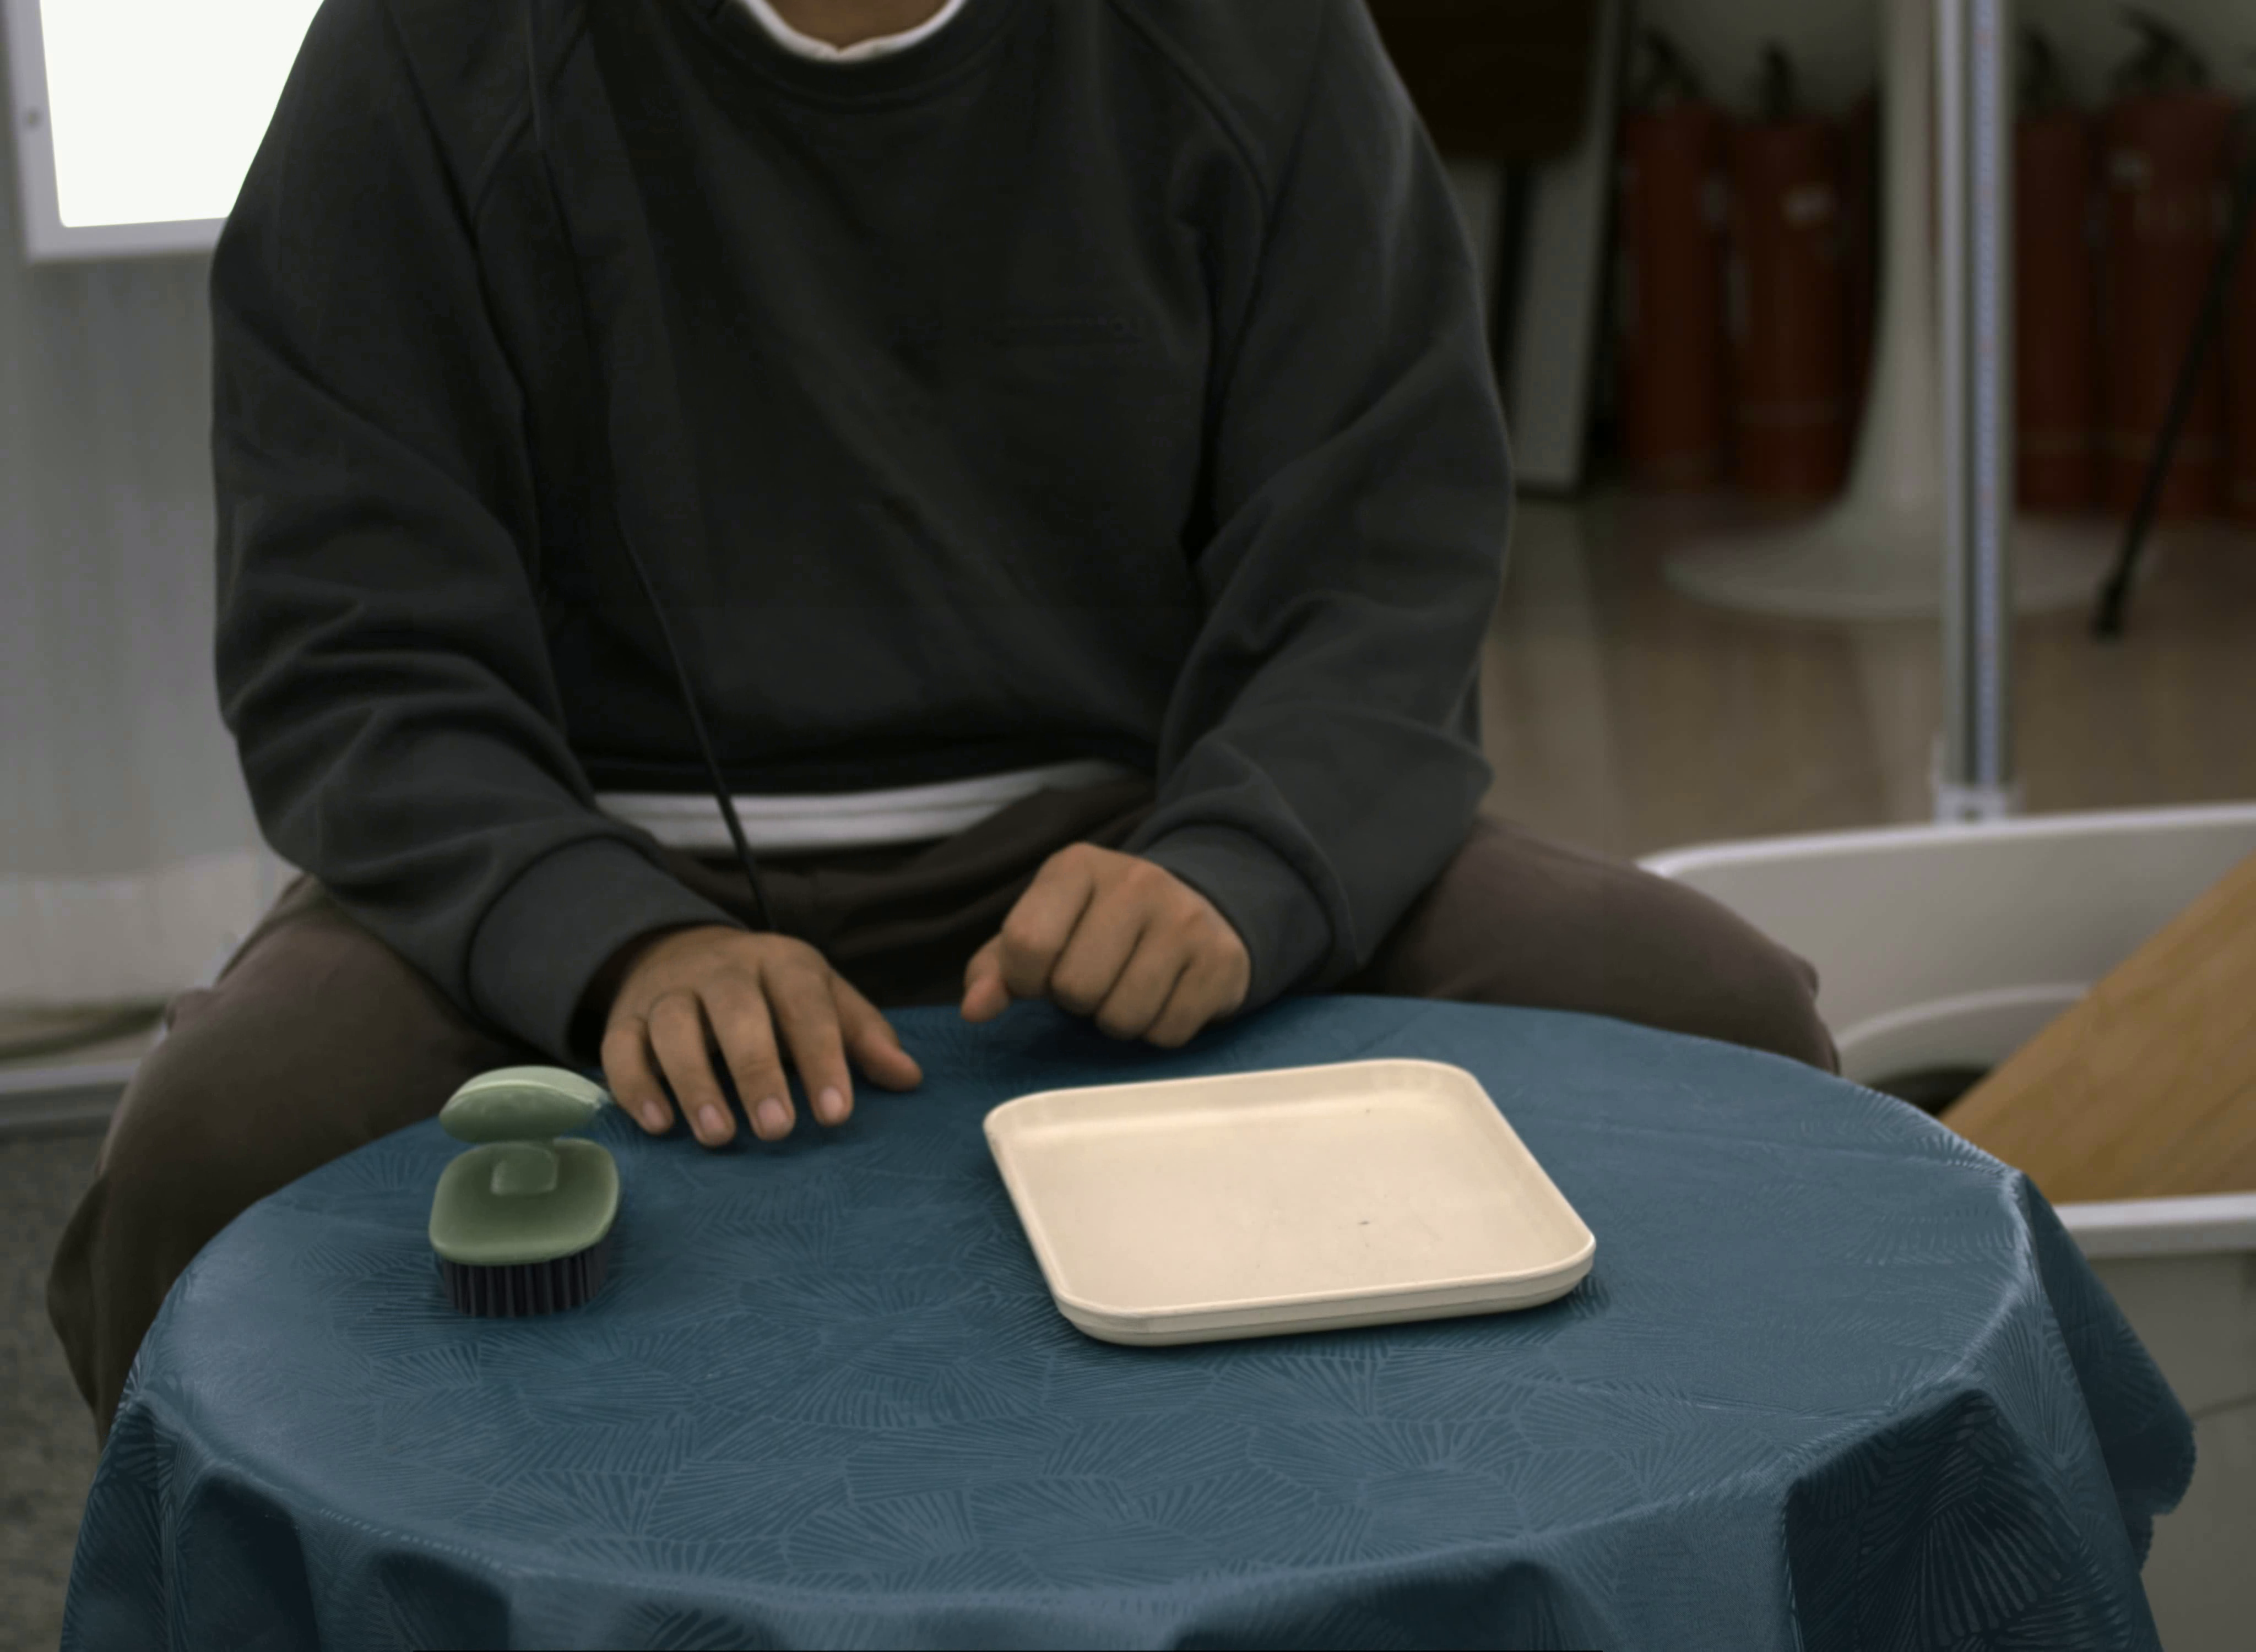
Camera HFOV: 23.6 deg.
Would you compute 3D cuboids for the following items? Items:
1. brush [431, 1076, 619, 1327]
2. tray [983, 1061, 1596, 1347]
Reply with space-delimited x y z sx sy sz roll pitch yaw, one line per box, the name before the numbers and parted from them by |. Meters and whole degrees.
brush | -0.193 0.118 1.733 0.059 0.077 0.123 -4 -1 -3
tray | 0.048 0.120 1.727 0.168 0.017 0.241 -5 14 -7
